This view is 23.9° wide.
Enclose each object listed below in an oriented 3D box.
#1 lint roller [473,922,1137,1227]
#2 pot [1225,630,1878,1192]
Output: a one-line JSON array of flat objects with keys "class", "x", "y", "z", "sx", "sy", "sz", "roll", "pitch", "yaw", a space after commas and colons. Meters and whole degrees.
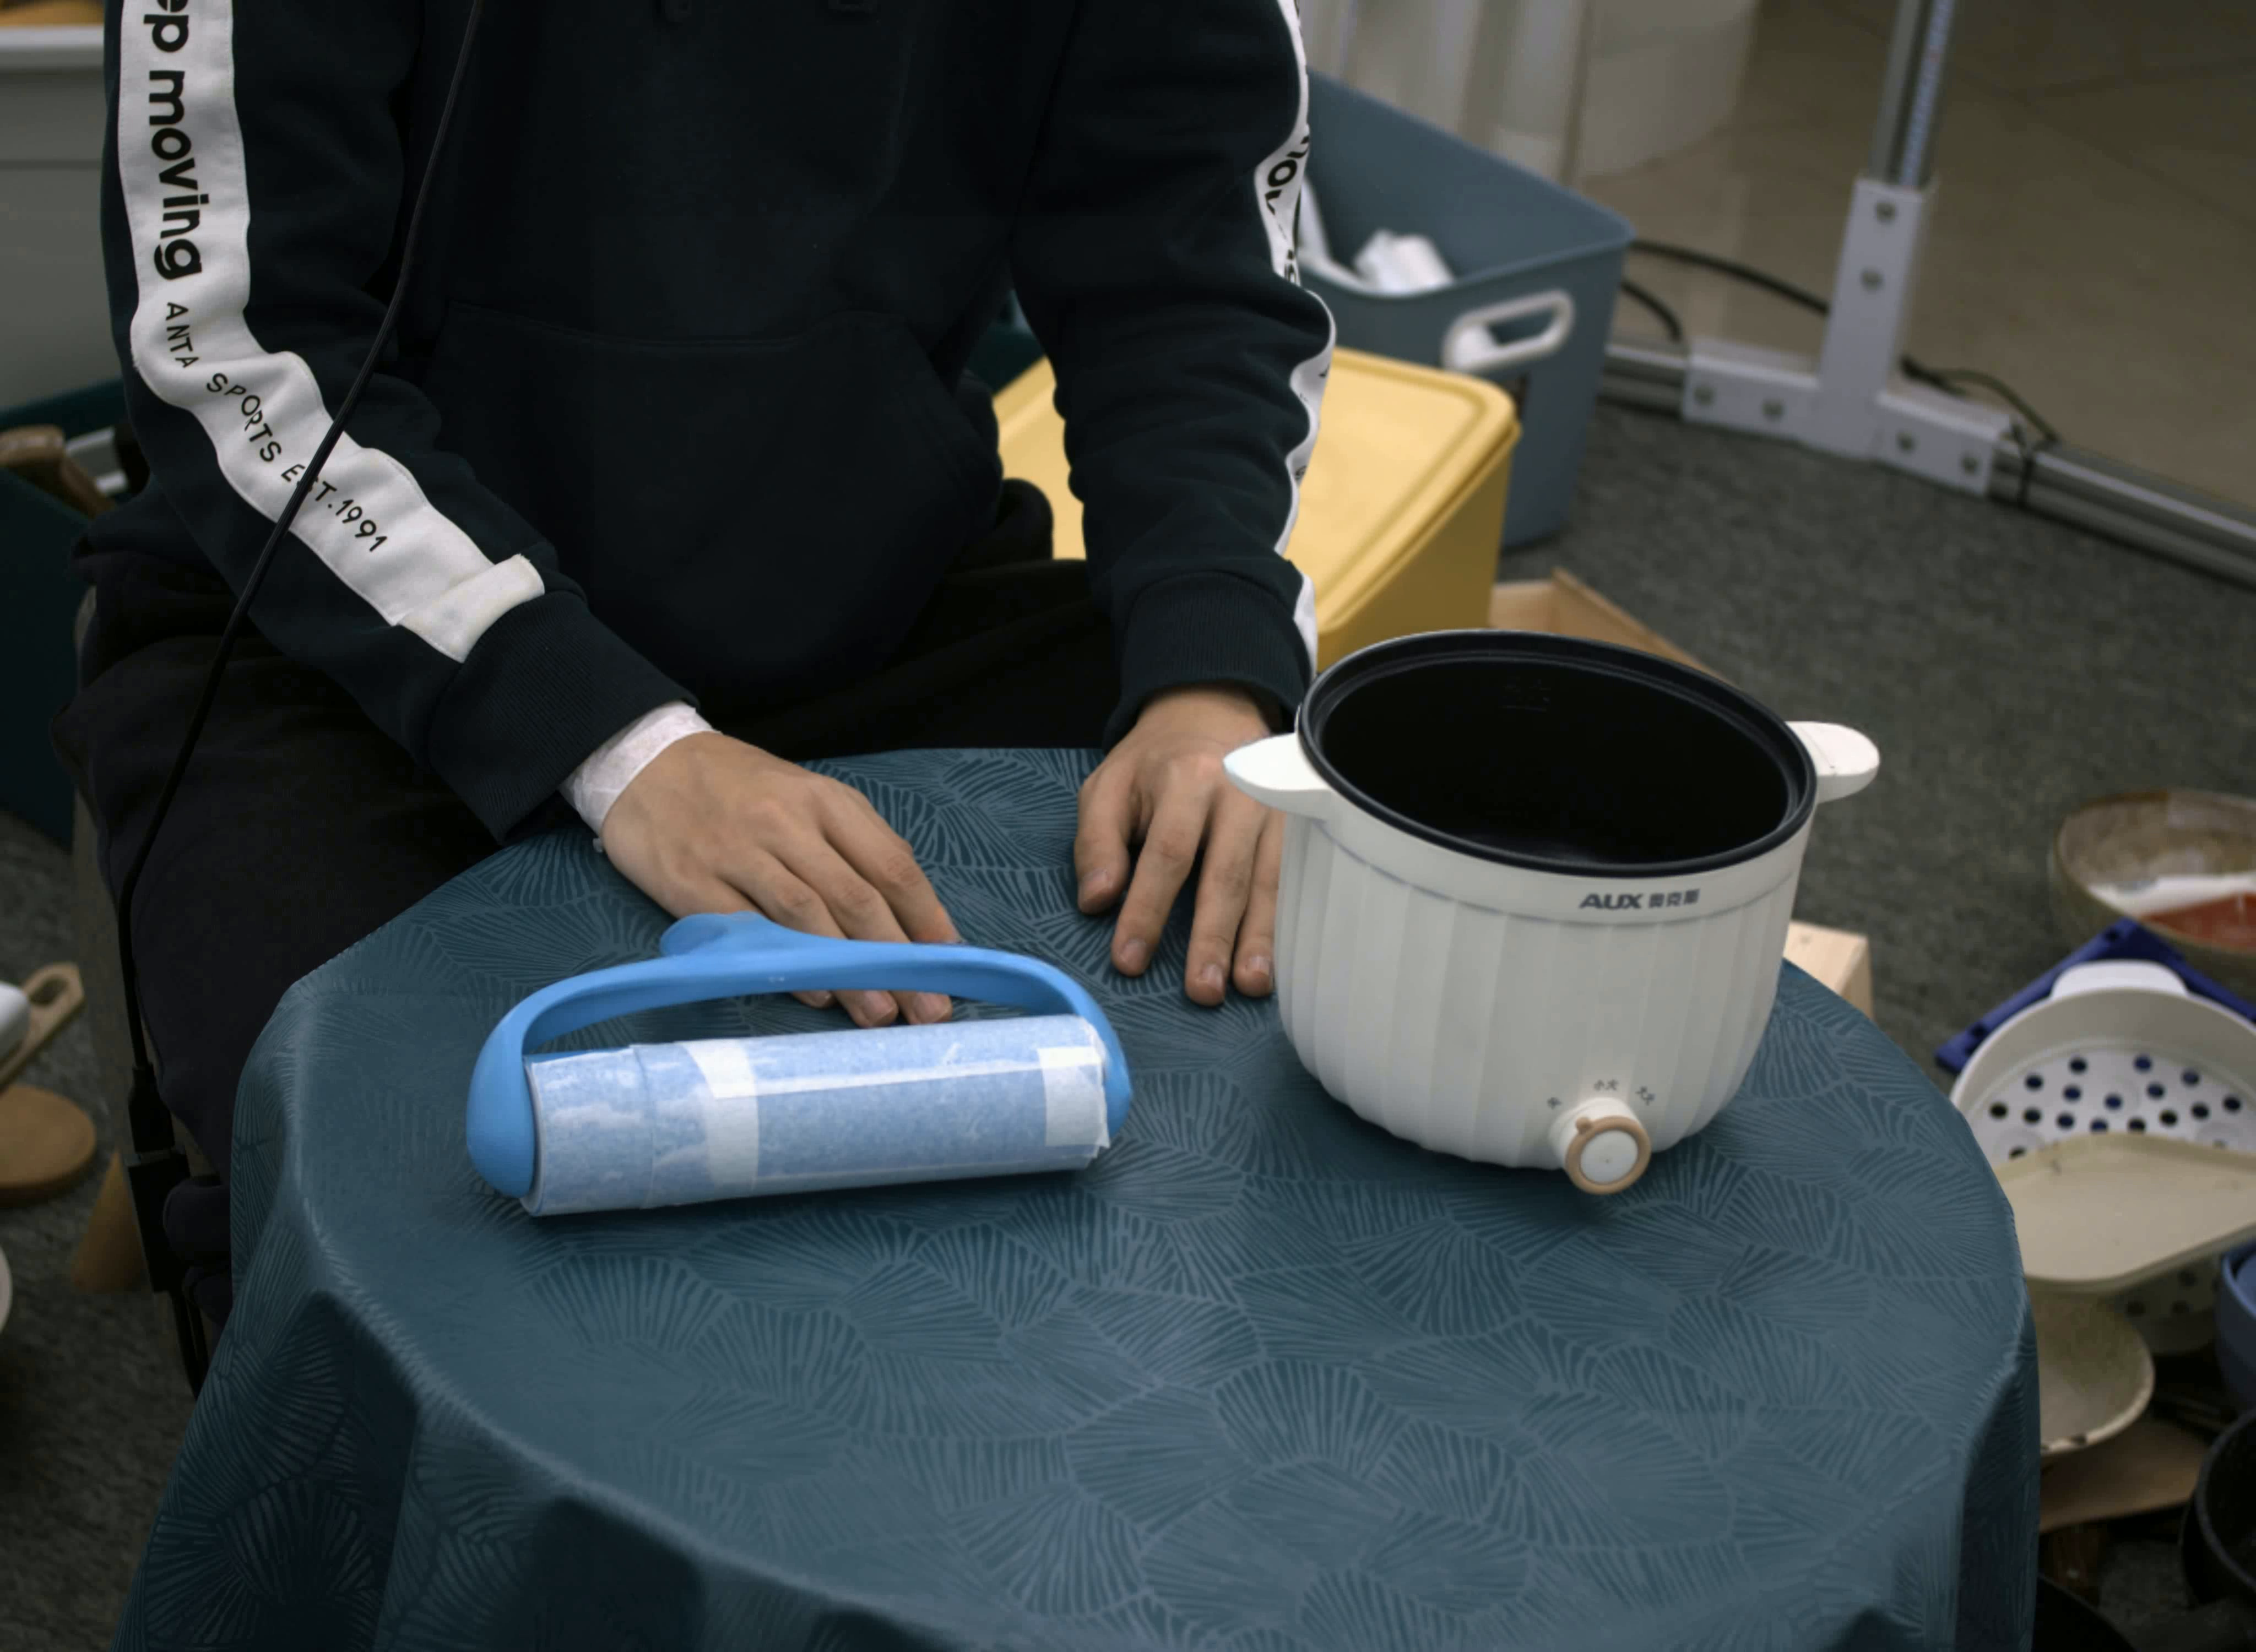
[{"class": "lint roller", "x": -0.127, "y": 0.068, "z": 1.818, "sx": 0.227, "sy": 0.067, "sz": 0.182, "roll": -7, "pitch": 31, "yaw": -20}, {"class": "pot", "x": 0.144, "y": 0.033, "z": 1.857, "sx": 0.239, "sy": 0.142, "sz": 0.192, "roll": -3, "pitch": 25, "yaw": -16}]
